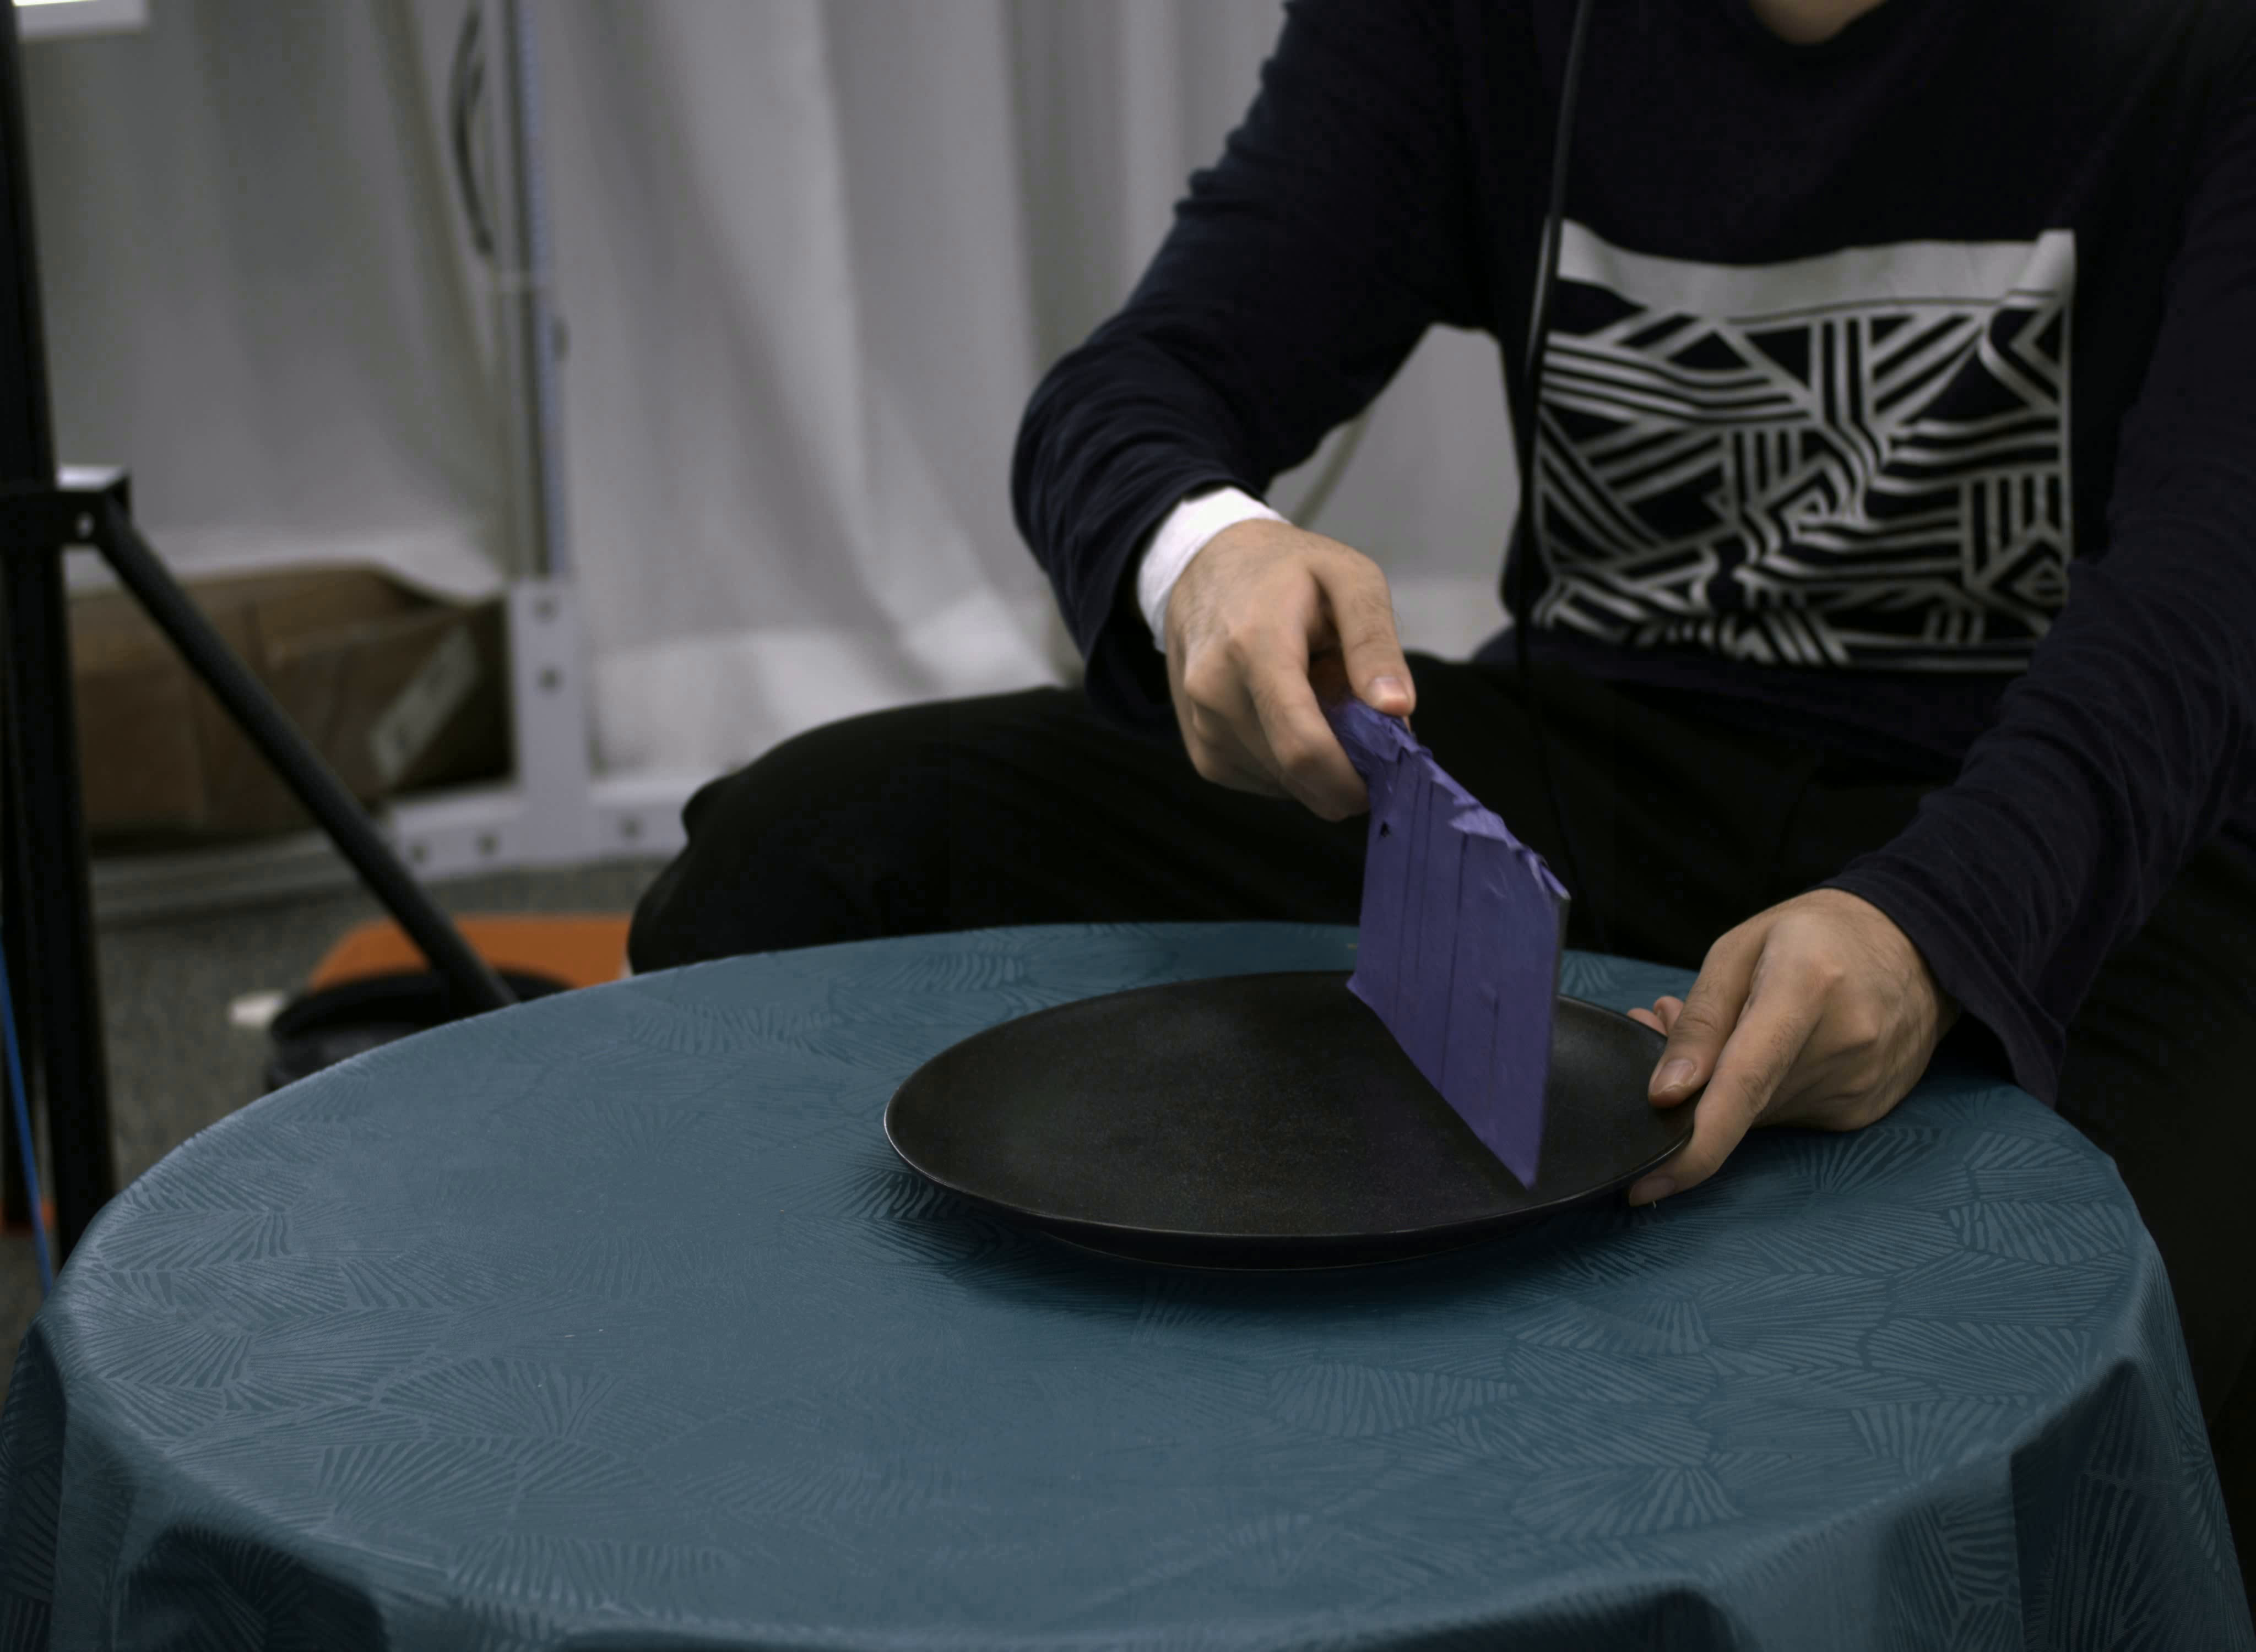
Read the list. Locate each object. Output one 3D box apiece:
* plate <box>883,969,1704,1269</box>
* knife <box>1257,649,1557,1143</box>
[{"bbox_3d":[0.049,0.089,1.573,0.243,0.023,0.245,-4,16,0],"label":"plate"},{"bbox_3d":[0.080,0.018,1.612,0.032,0.104,0.318,5,12,-11],"label":"knife"}]
